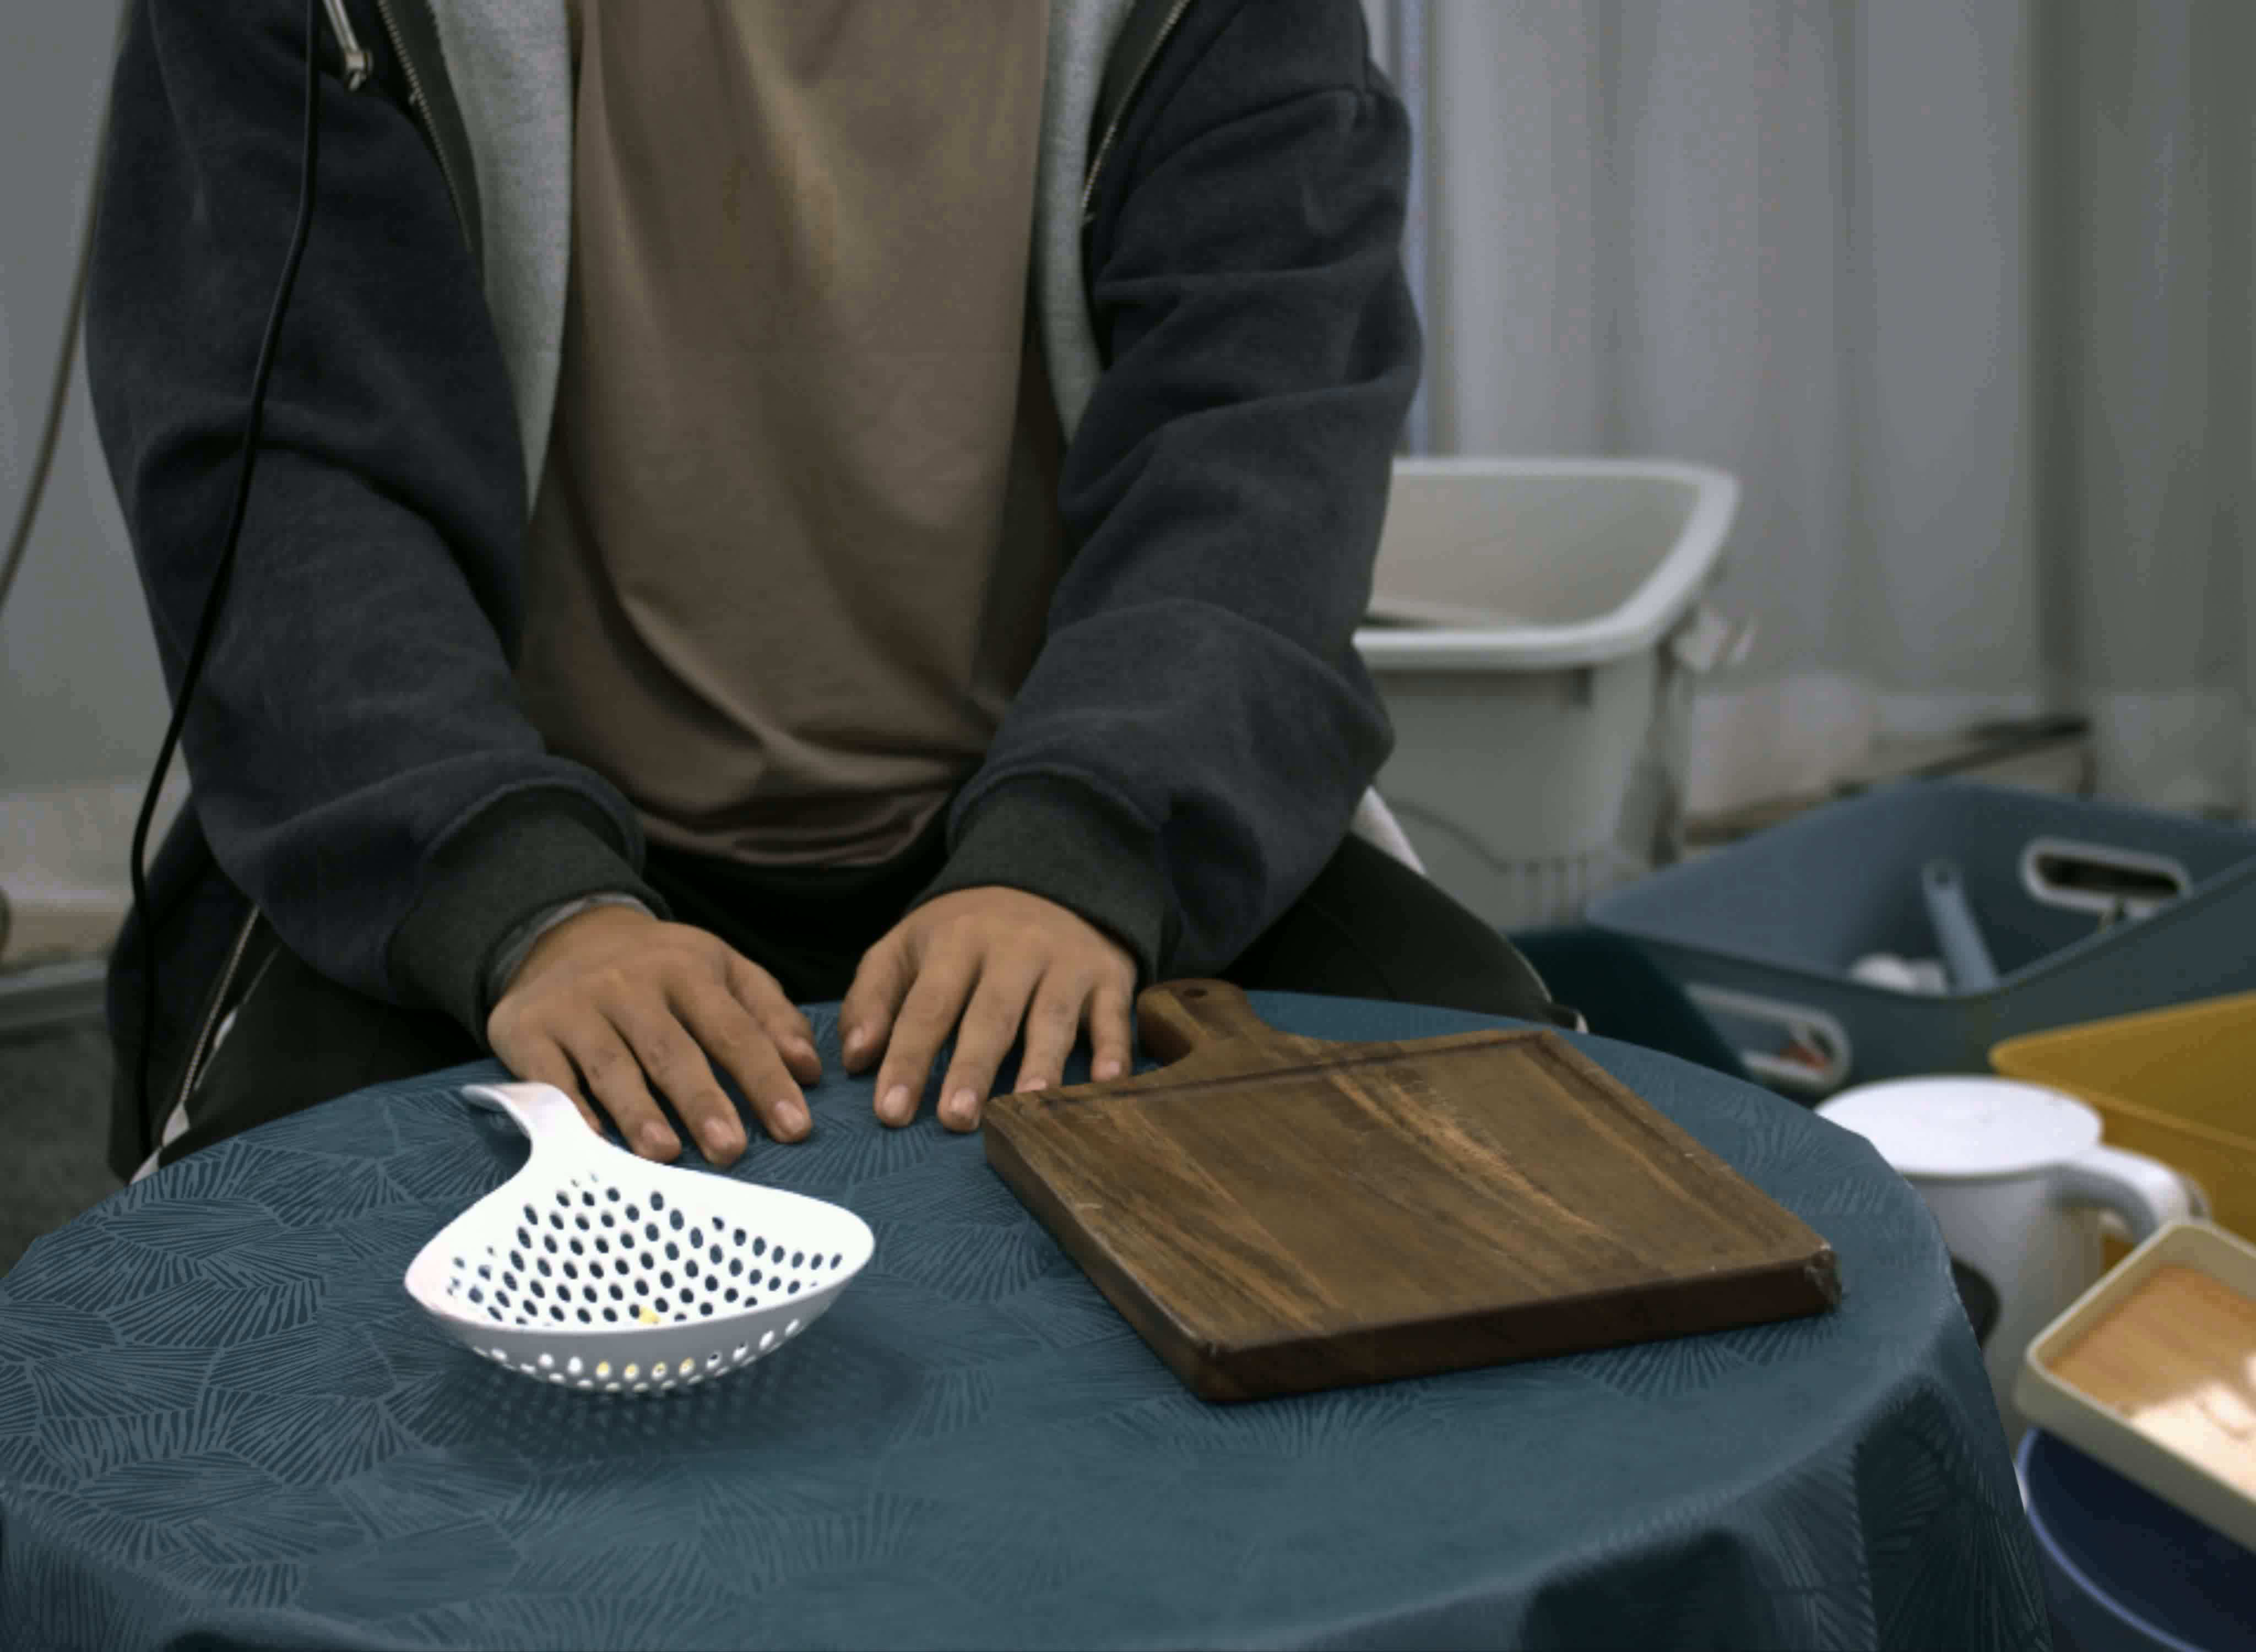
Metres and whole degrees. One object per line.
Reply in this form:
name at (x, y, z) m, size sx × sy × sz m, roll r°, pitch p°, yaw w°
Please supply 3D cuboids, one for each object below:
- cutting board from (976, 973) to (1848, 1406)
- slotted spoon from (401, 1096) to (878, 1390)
cutting board at (0.066, 0.102, 1.711) m, size 0.200 × 0.023 × 0.355 m, roll -6°, pitch 15°, yaw -15°
slotted spoon at (-0.170, 0.113, 1.674) m, size 0.136 × 0.050 × 0.351 m, roll -9°, pitch 16°, yaw -15°
